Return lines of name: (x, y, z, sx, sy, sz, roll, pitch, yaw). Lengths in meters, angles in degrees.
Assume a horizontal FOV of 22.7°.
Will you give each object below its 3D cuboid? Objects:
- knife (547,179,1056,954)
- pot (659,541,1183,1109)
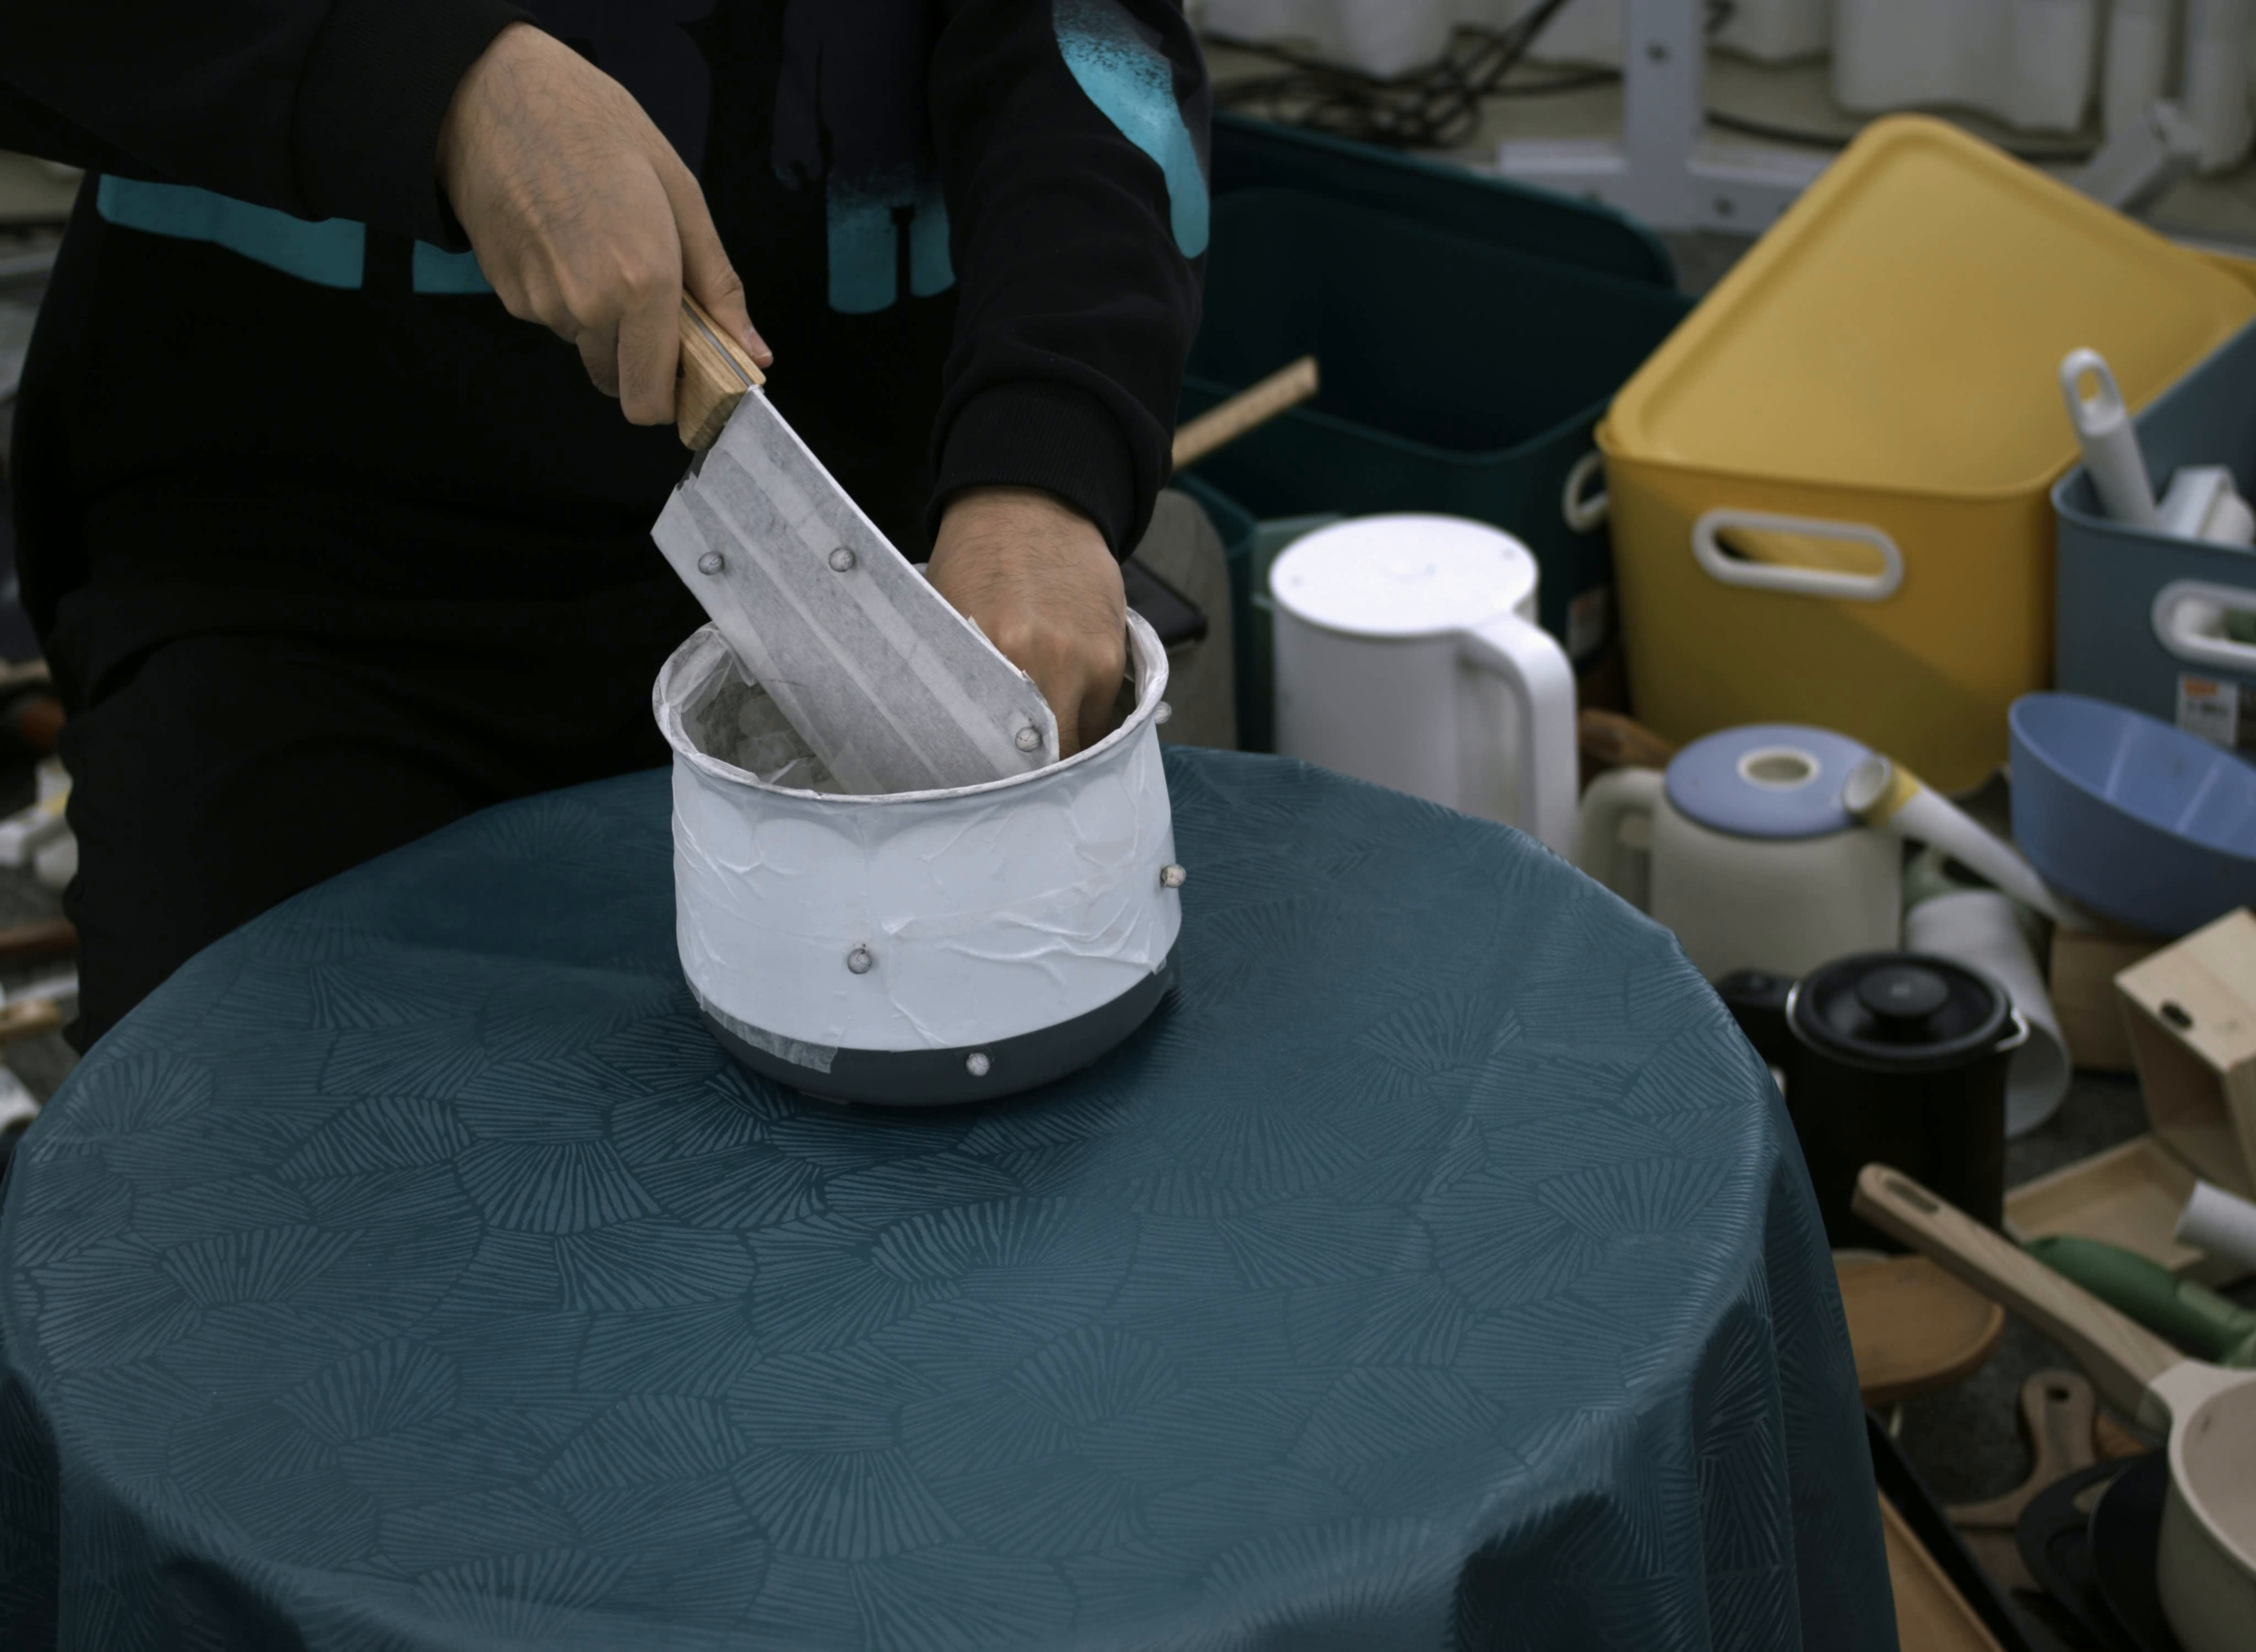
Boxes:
knife: (-0.122, -0.101, 1.936, 0.021, 0.113, 0.319, 25, 30, -57)
pot: (-0.076, -0.008, 1.970, 0.178, 0.135, 0.236, -8, 29, -12)
